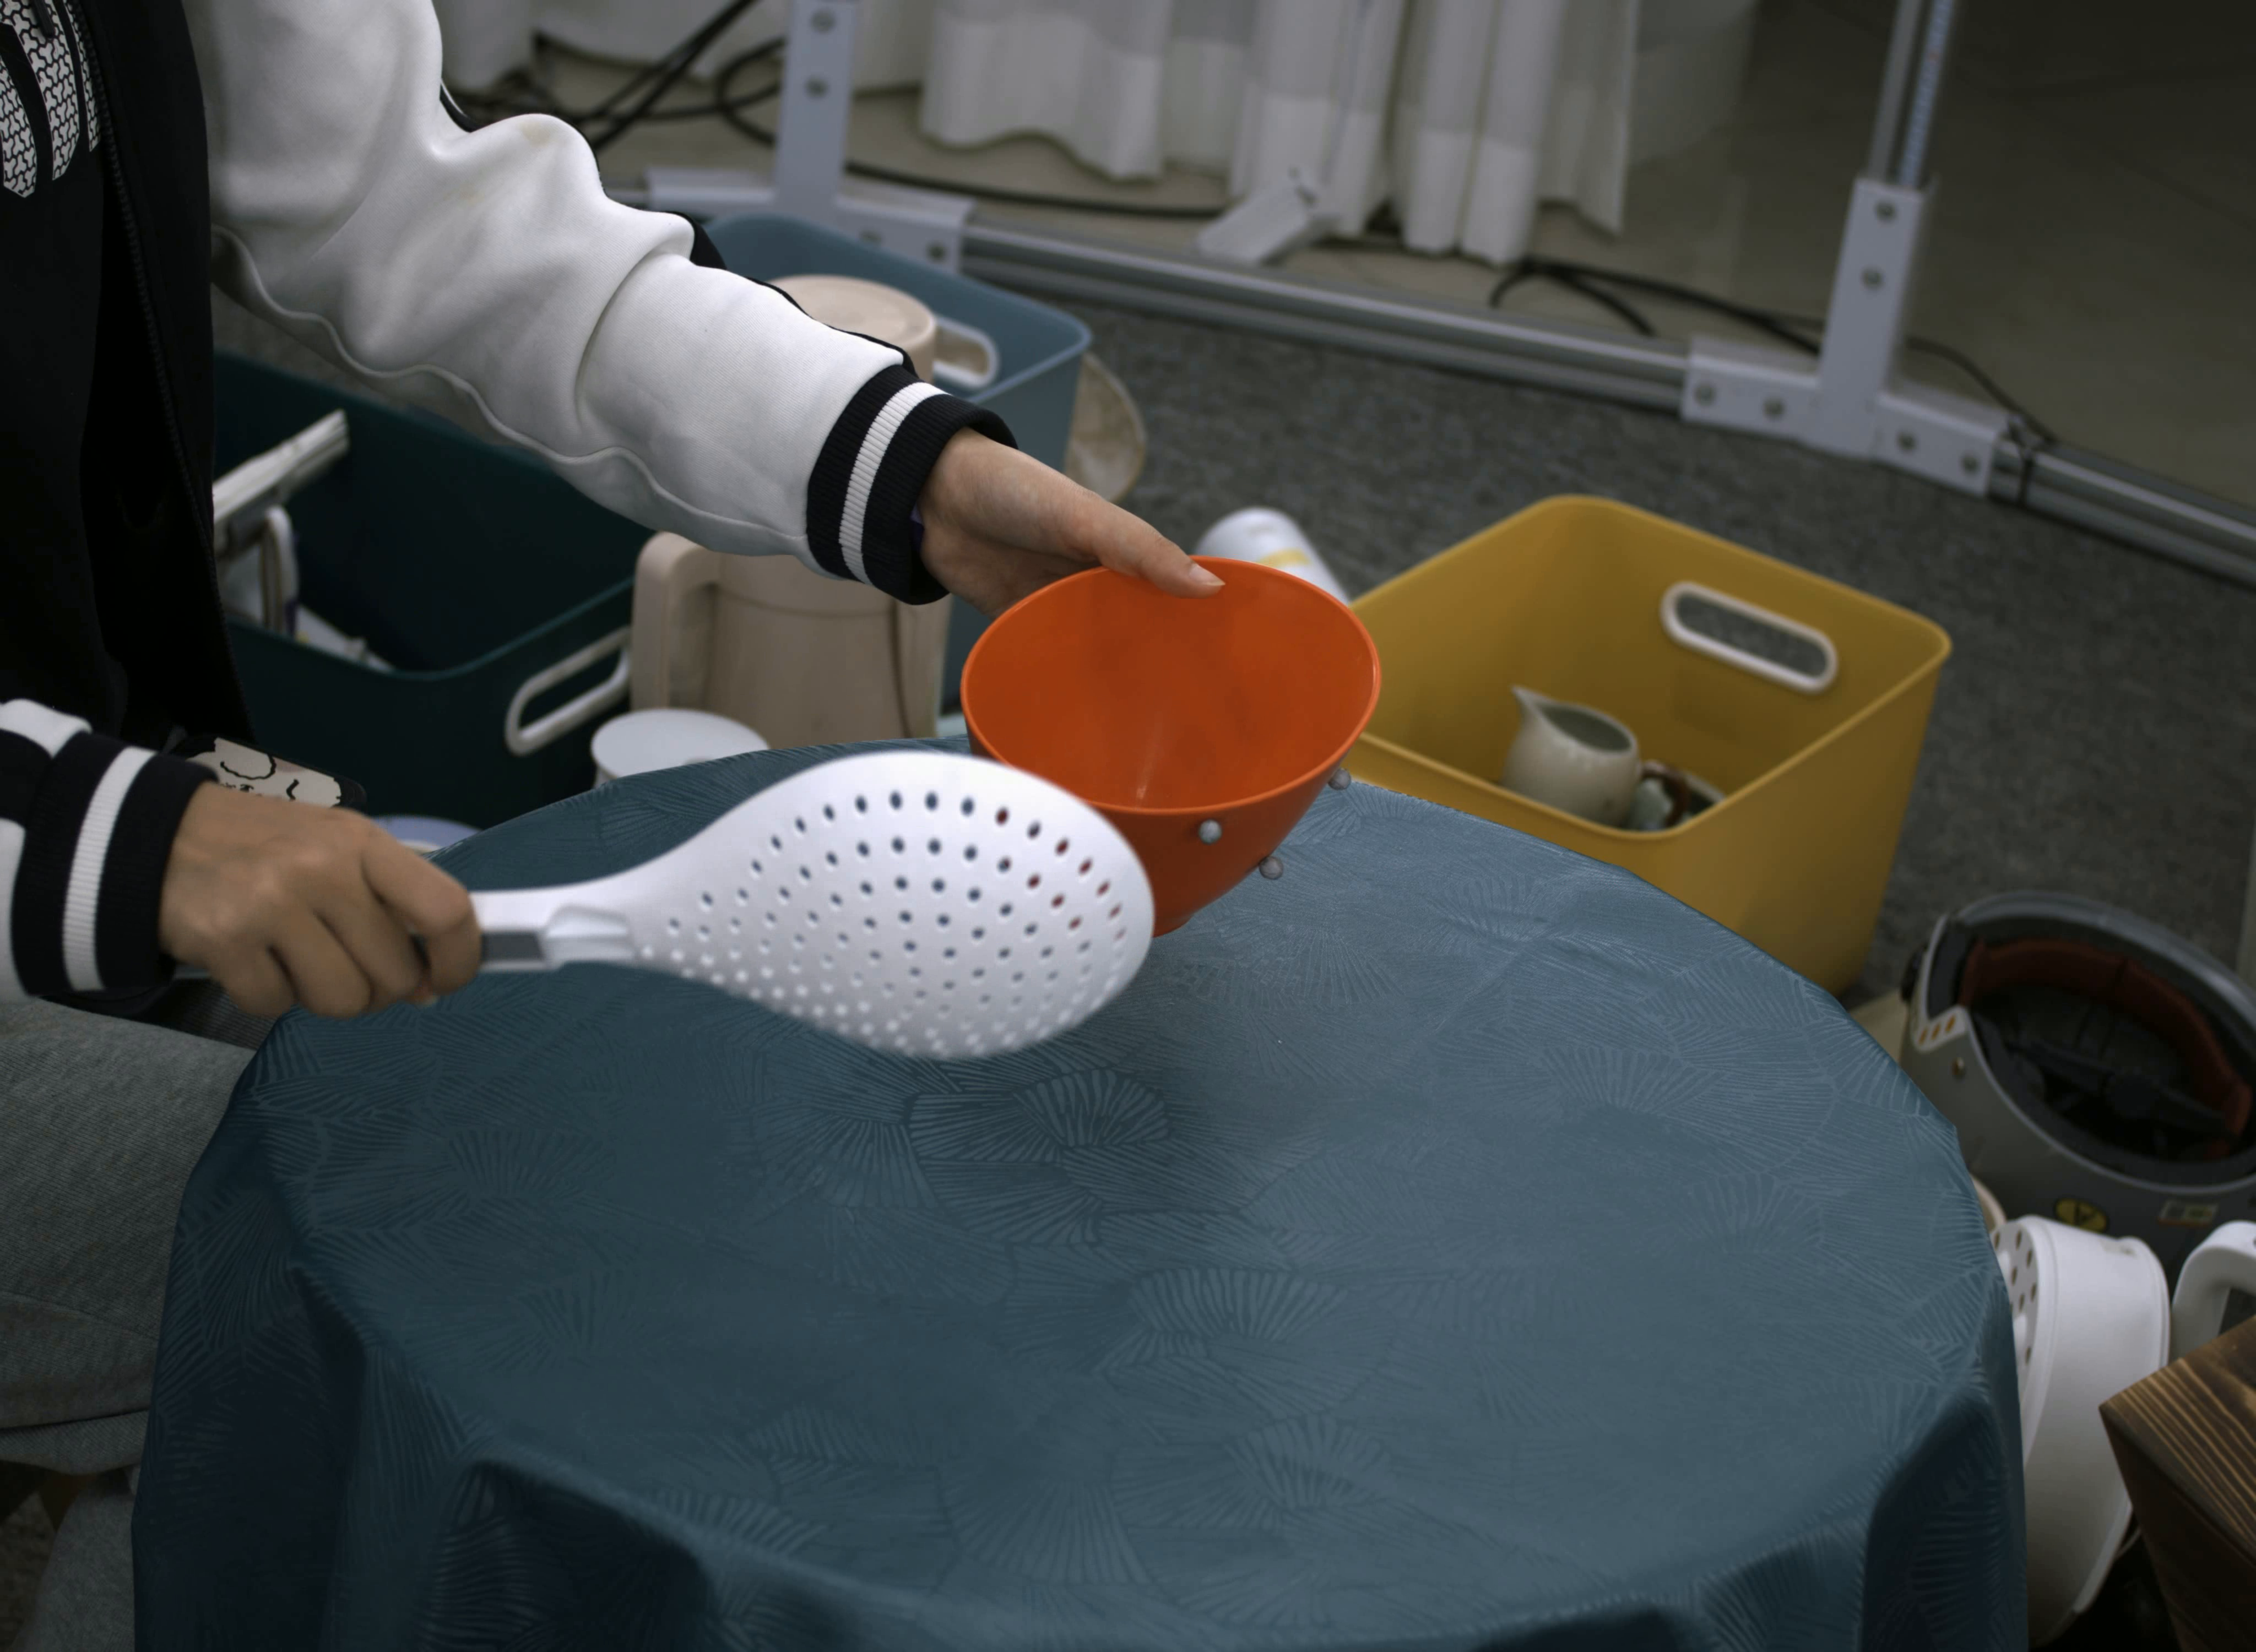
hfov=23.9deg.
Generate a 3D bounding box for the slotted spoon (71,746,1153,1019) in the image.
[{"bbox_3d":[-0.165,0.025,1.663,0.350,0.135,0.046,2,57,16],"label":"slotted spoon"}]

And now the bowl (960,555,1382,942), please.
[{"bbox_3d":[0.011,-0.019,1.903,0.147,0.104,0.149,5,39,-4],"label":"bowl"}]
